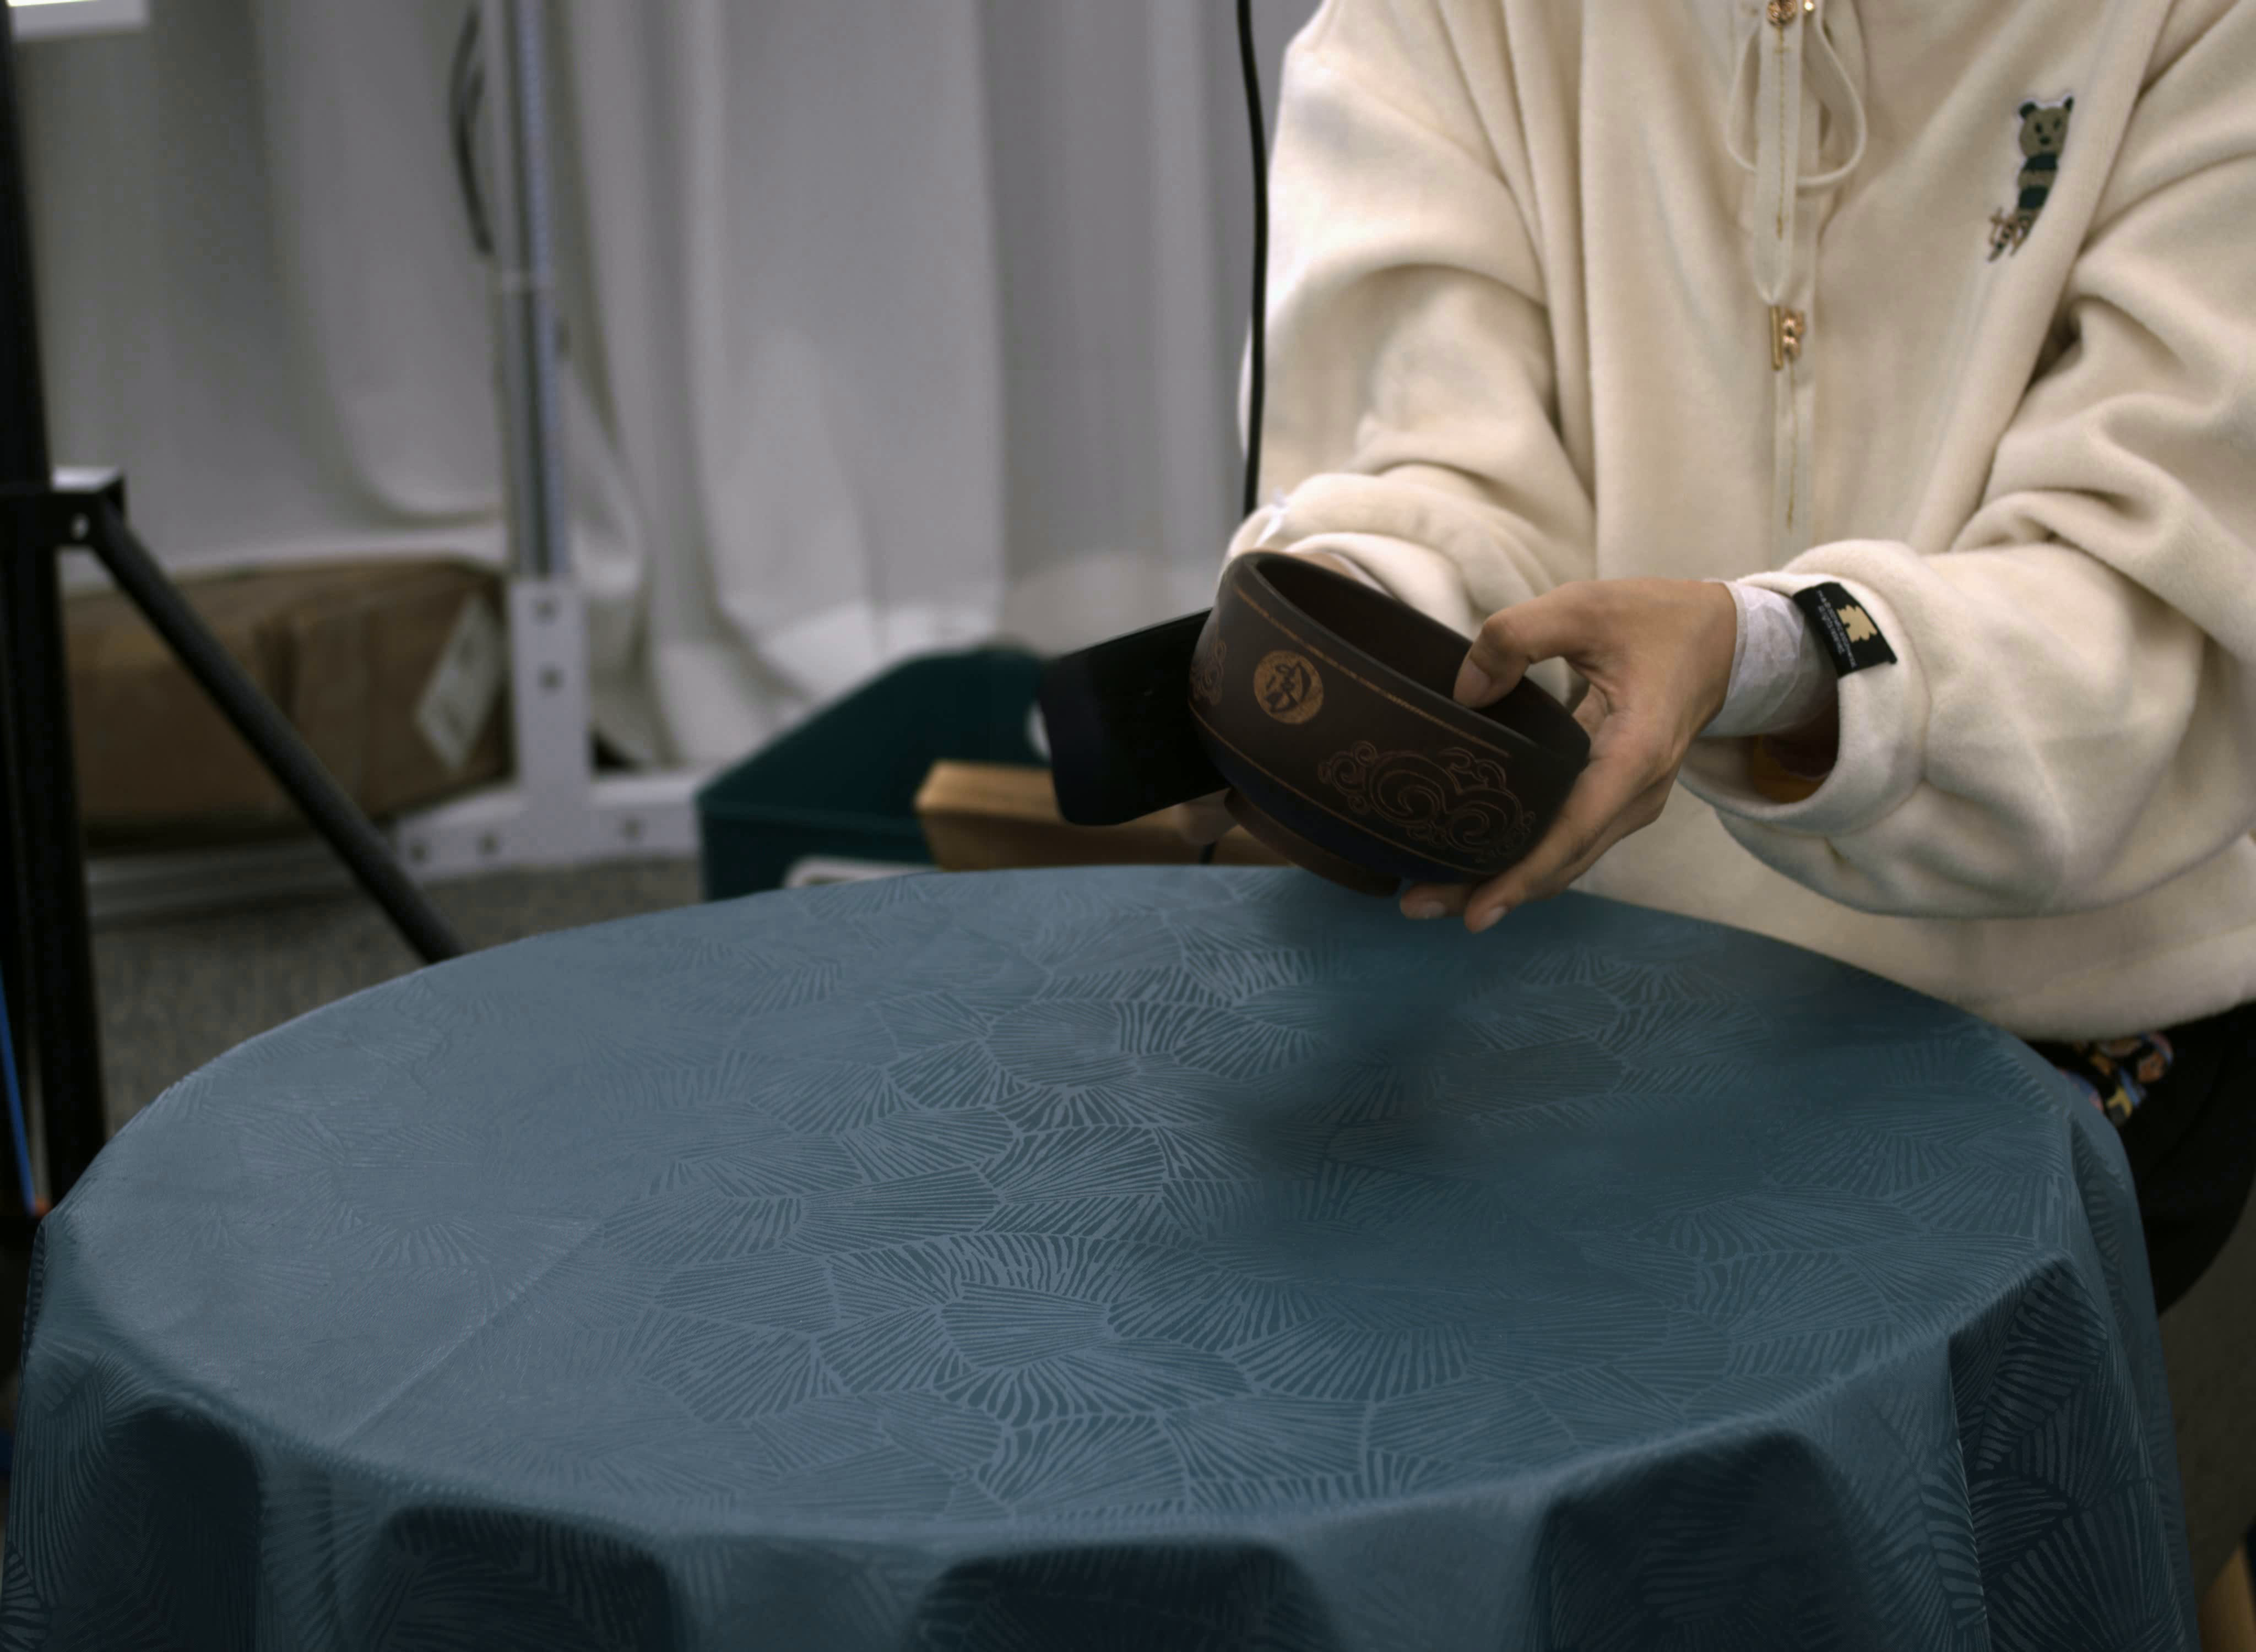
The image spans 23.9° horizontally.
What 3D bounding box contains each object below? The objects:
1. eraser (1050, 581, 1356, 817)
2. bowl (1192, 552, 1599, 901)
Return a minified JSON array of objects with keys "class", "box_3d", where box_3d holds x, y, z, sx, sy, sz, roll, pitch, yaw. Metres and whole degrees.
[{"class":"eraser","box_3d":[0.025,-0.040,1.594,0.031,0.053,0.123,-3,8,39]},{"class":"bowl","box_3d":[0.071,-0.022,1.543,0.117,0.070,0.118,27,11,-7]}]
